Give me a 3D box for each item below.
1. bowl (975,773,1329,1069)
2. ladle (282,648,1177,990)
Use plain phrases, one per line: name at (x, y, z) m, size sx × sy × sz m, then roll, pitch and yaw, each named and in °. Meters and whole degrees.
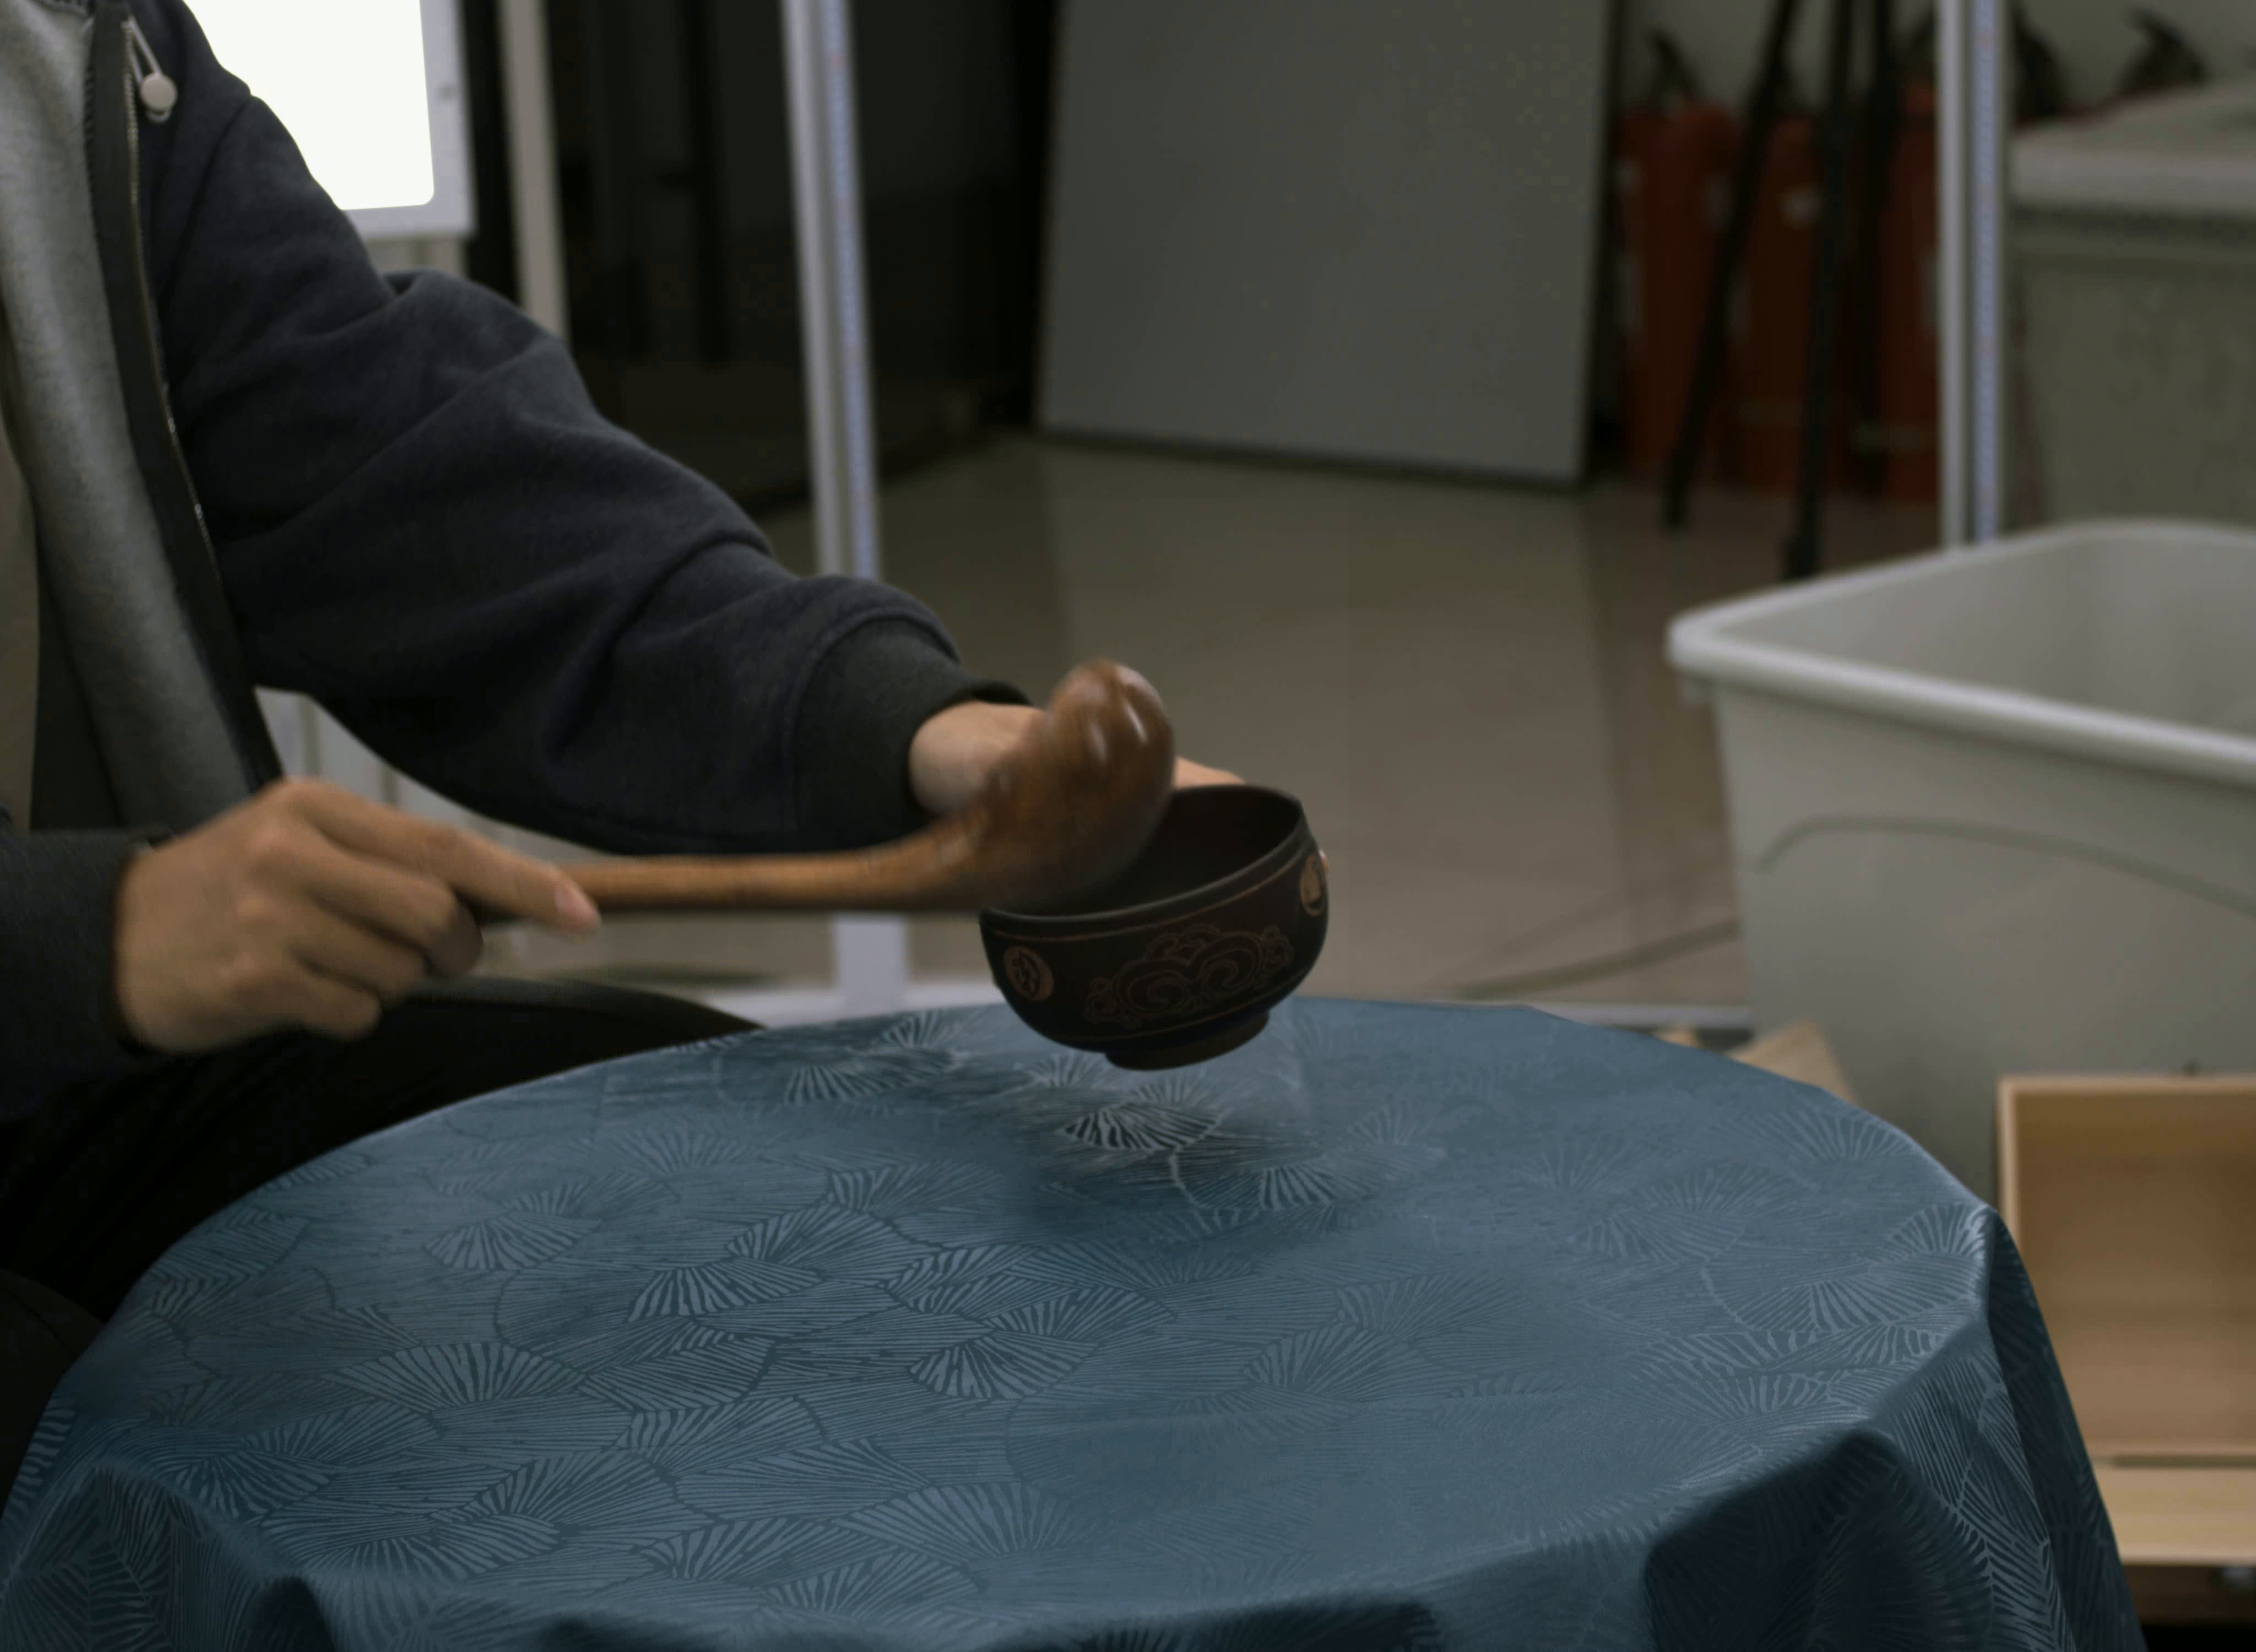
bowl at (0.012, 0.037, 1.788) m, size 0.117 × 0.070 × 0.118 m, roll -15°, pitch 17°, yaw 4°
ladle at (-0.119, -0.002, 1.618) m, size 0.272 × 0.082 × 0.077 m, roll -5°, pitch 55°, yaw 9°
